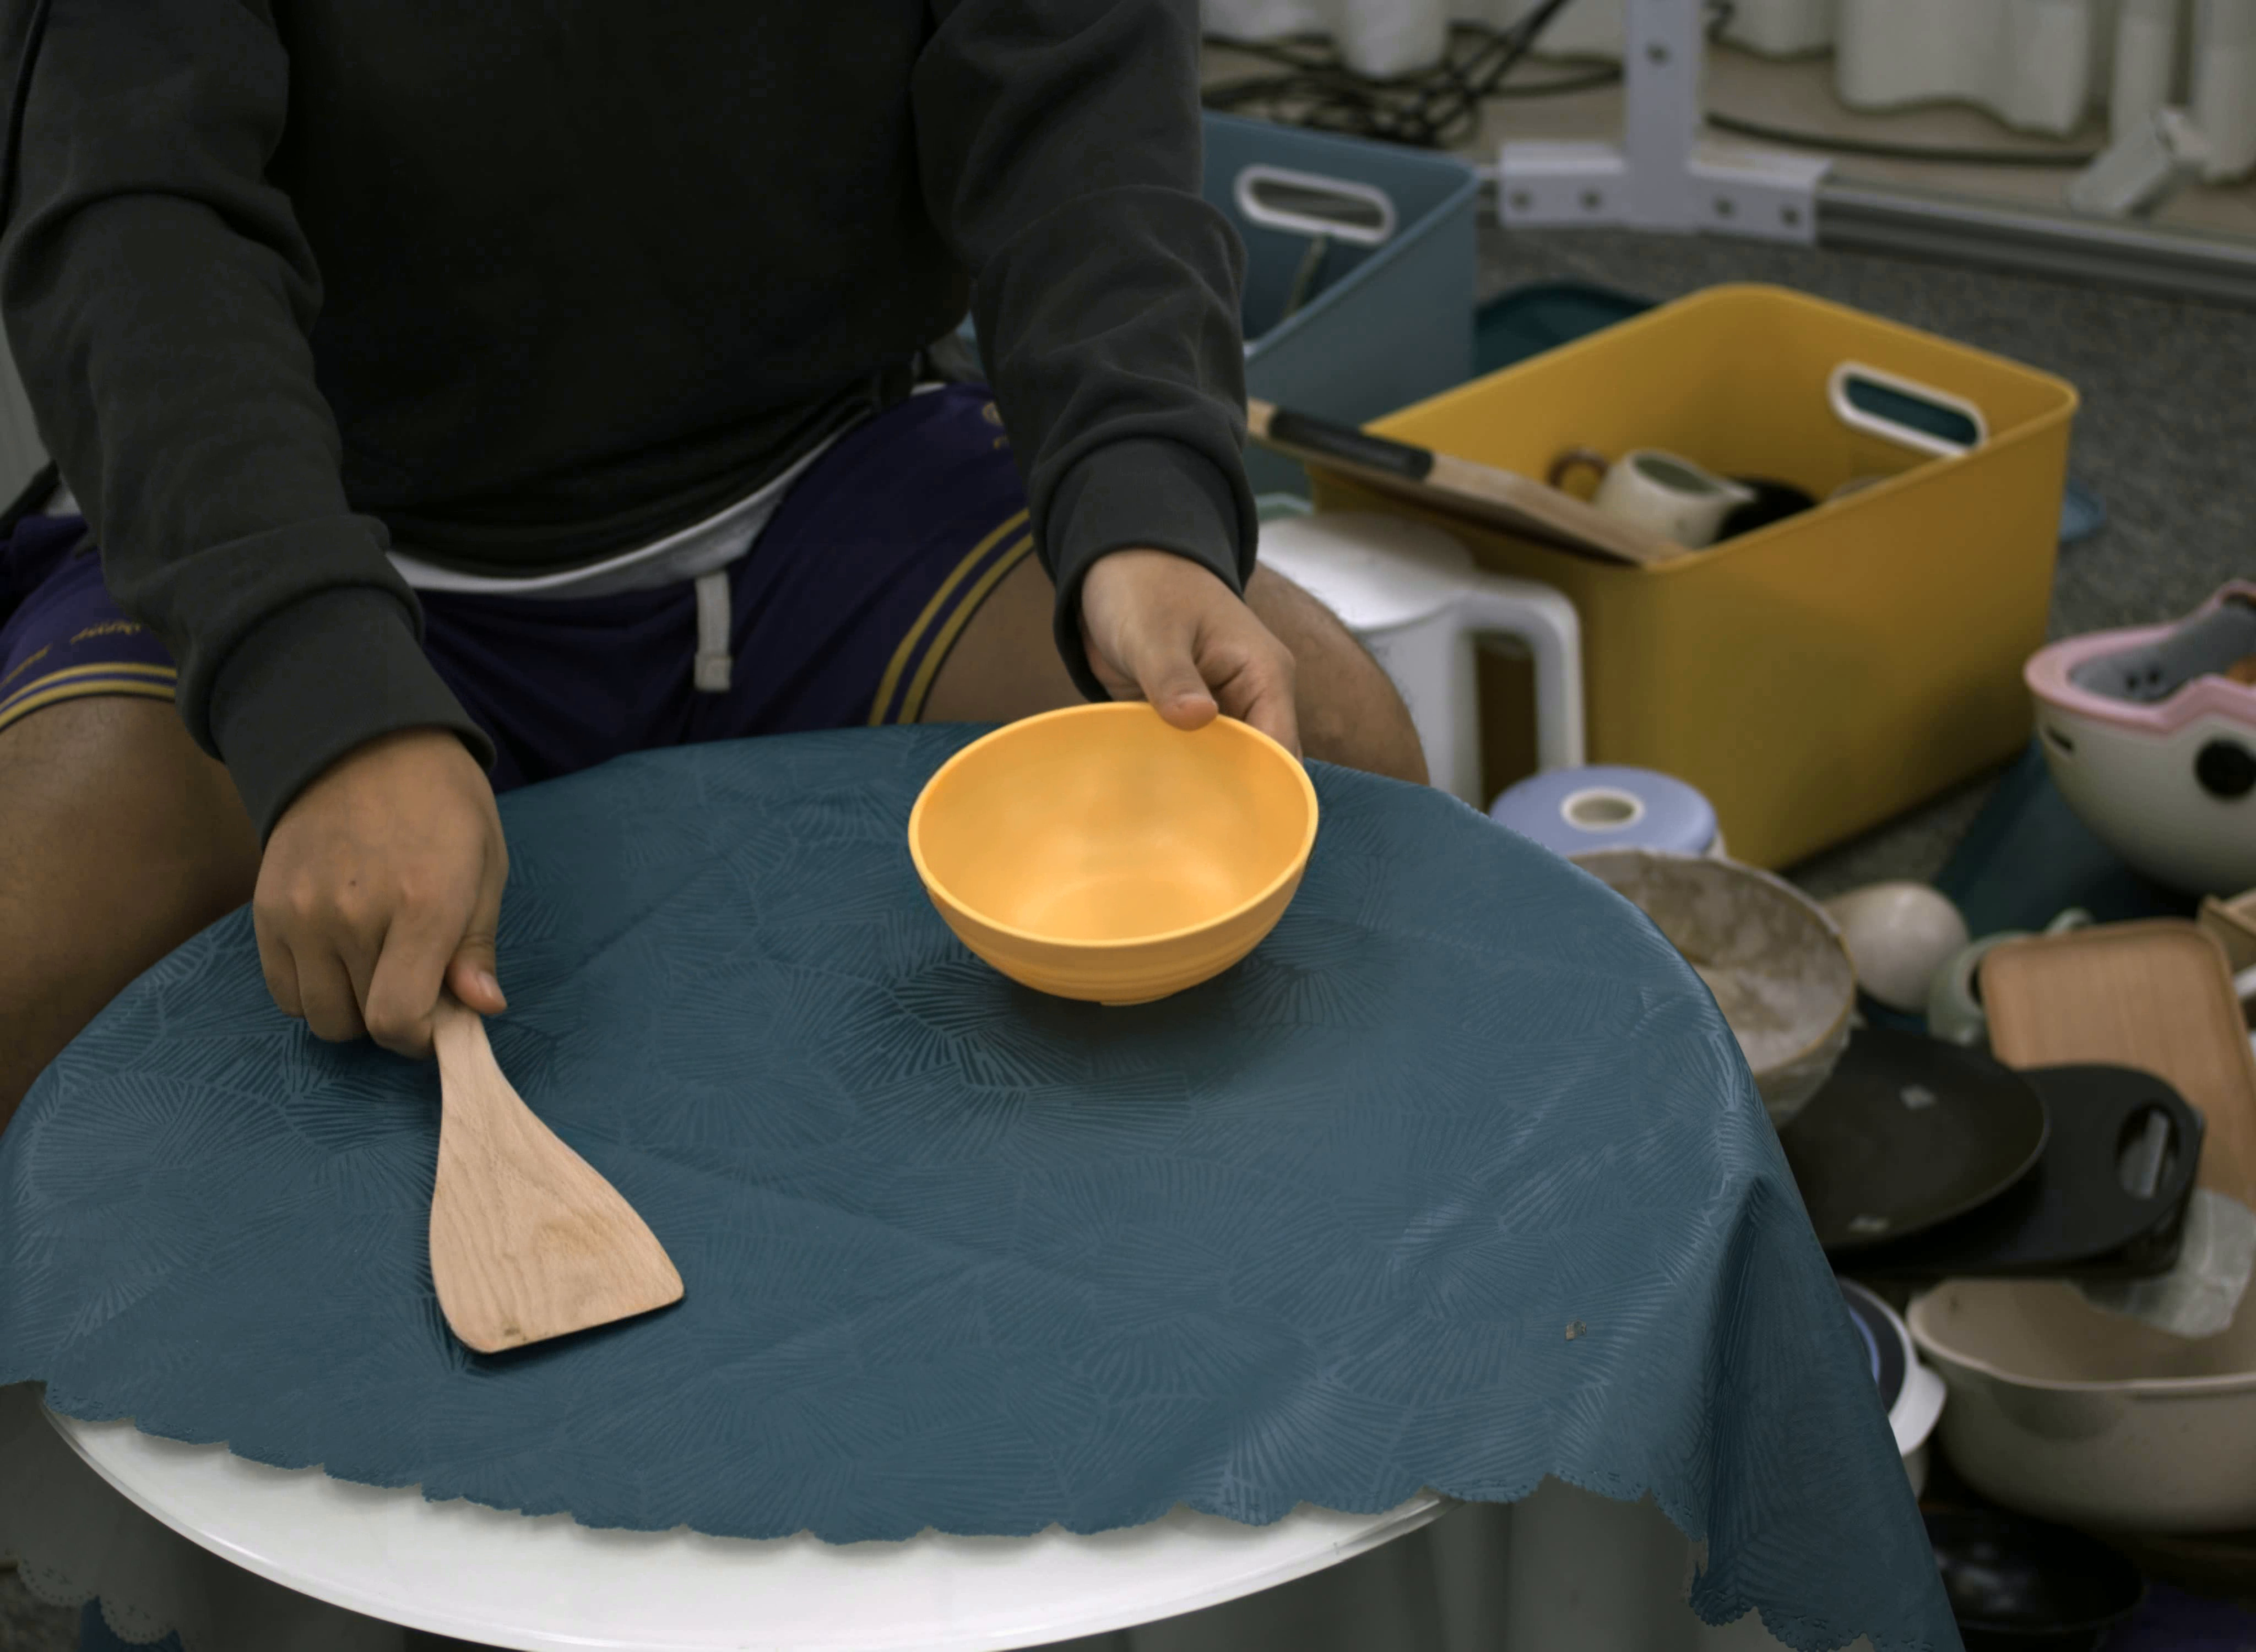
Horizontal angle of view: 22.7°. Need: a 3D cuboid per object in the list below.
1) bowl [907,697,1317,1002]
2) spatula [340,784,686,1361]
[{"bbox_3d":[-0.005,0.020,1.987,0.144,0.059,0.148,-1,36,1],"label":"bowl"},{"bbox_3d":[-0.224,0.077,1.916,0.080,0.016,0.332,-8,37,-16],"label":"spatula"}]
